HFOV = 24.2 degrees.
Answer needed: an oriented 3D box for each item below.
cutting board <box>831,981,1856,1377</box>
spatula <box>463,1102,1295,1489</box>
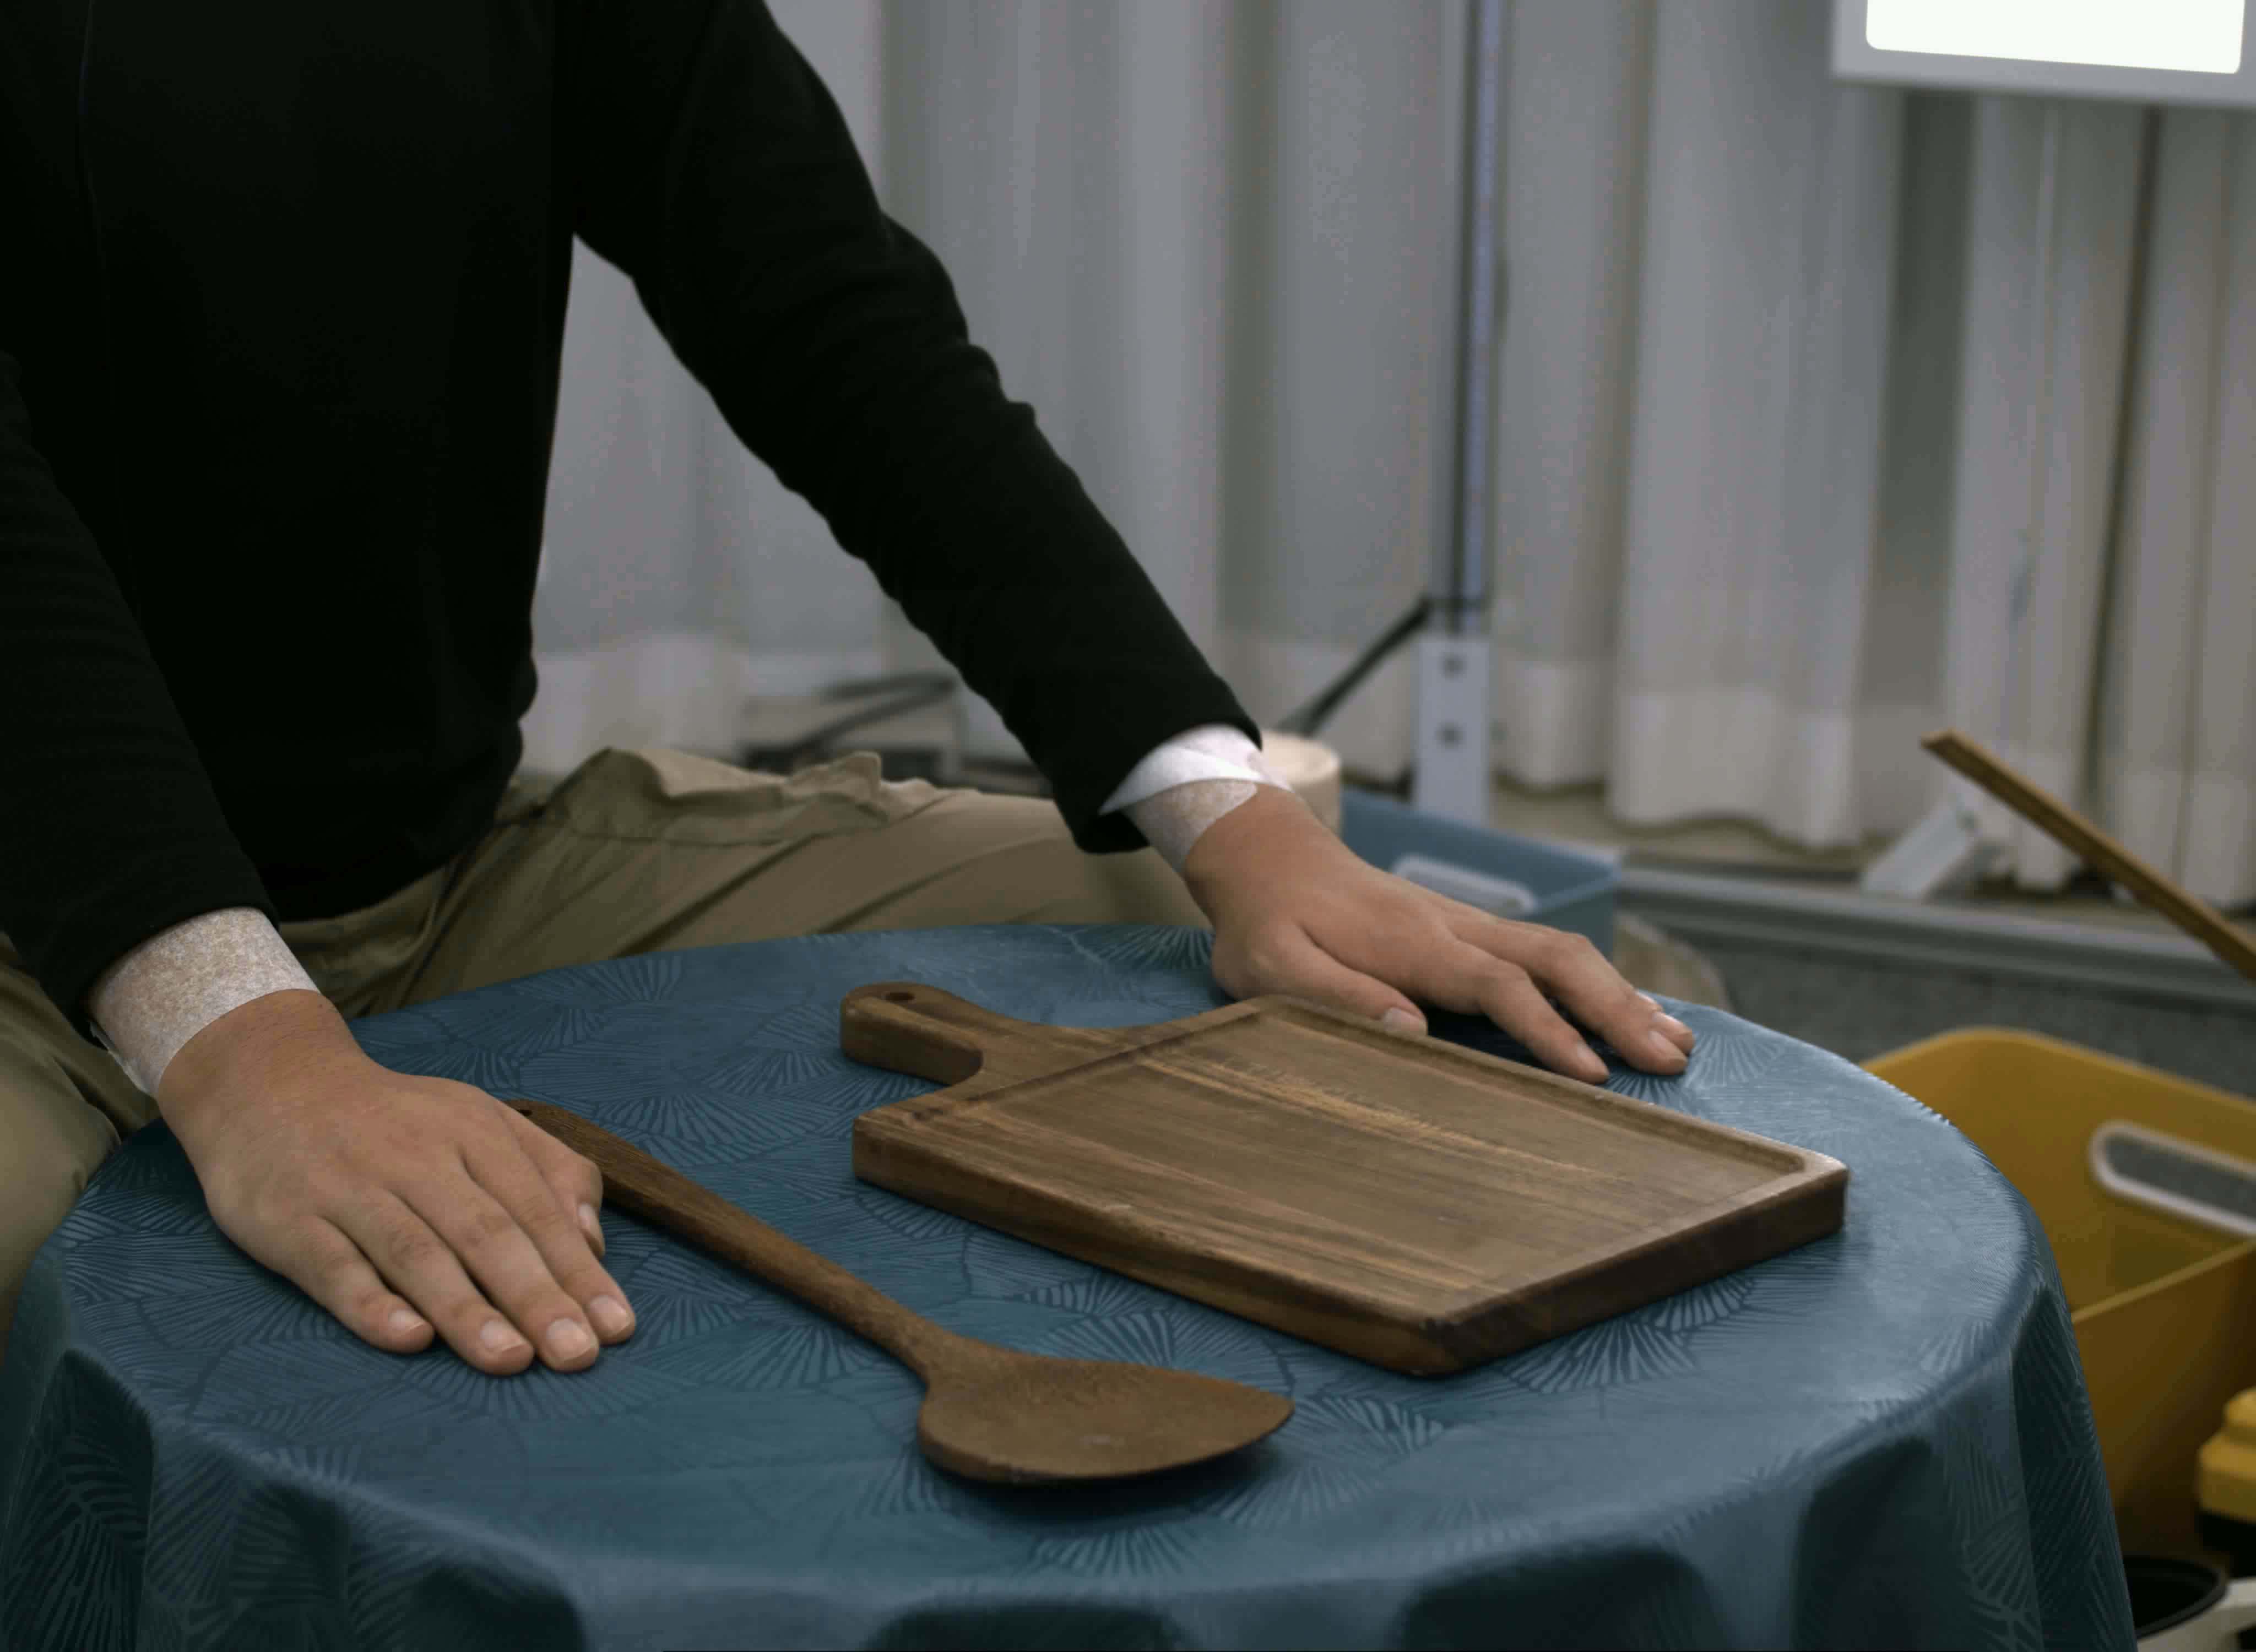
[{"bbox_3d":[0.033,0.095,1.645,0.347,0.023,0.202,15,21,43],"label":"cutting board"},{"bbox_3d":[-0.095,0.130,1.527,0.096,0.016,0.381,-10,18,-35],"label":"spatula"}]
